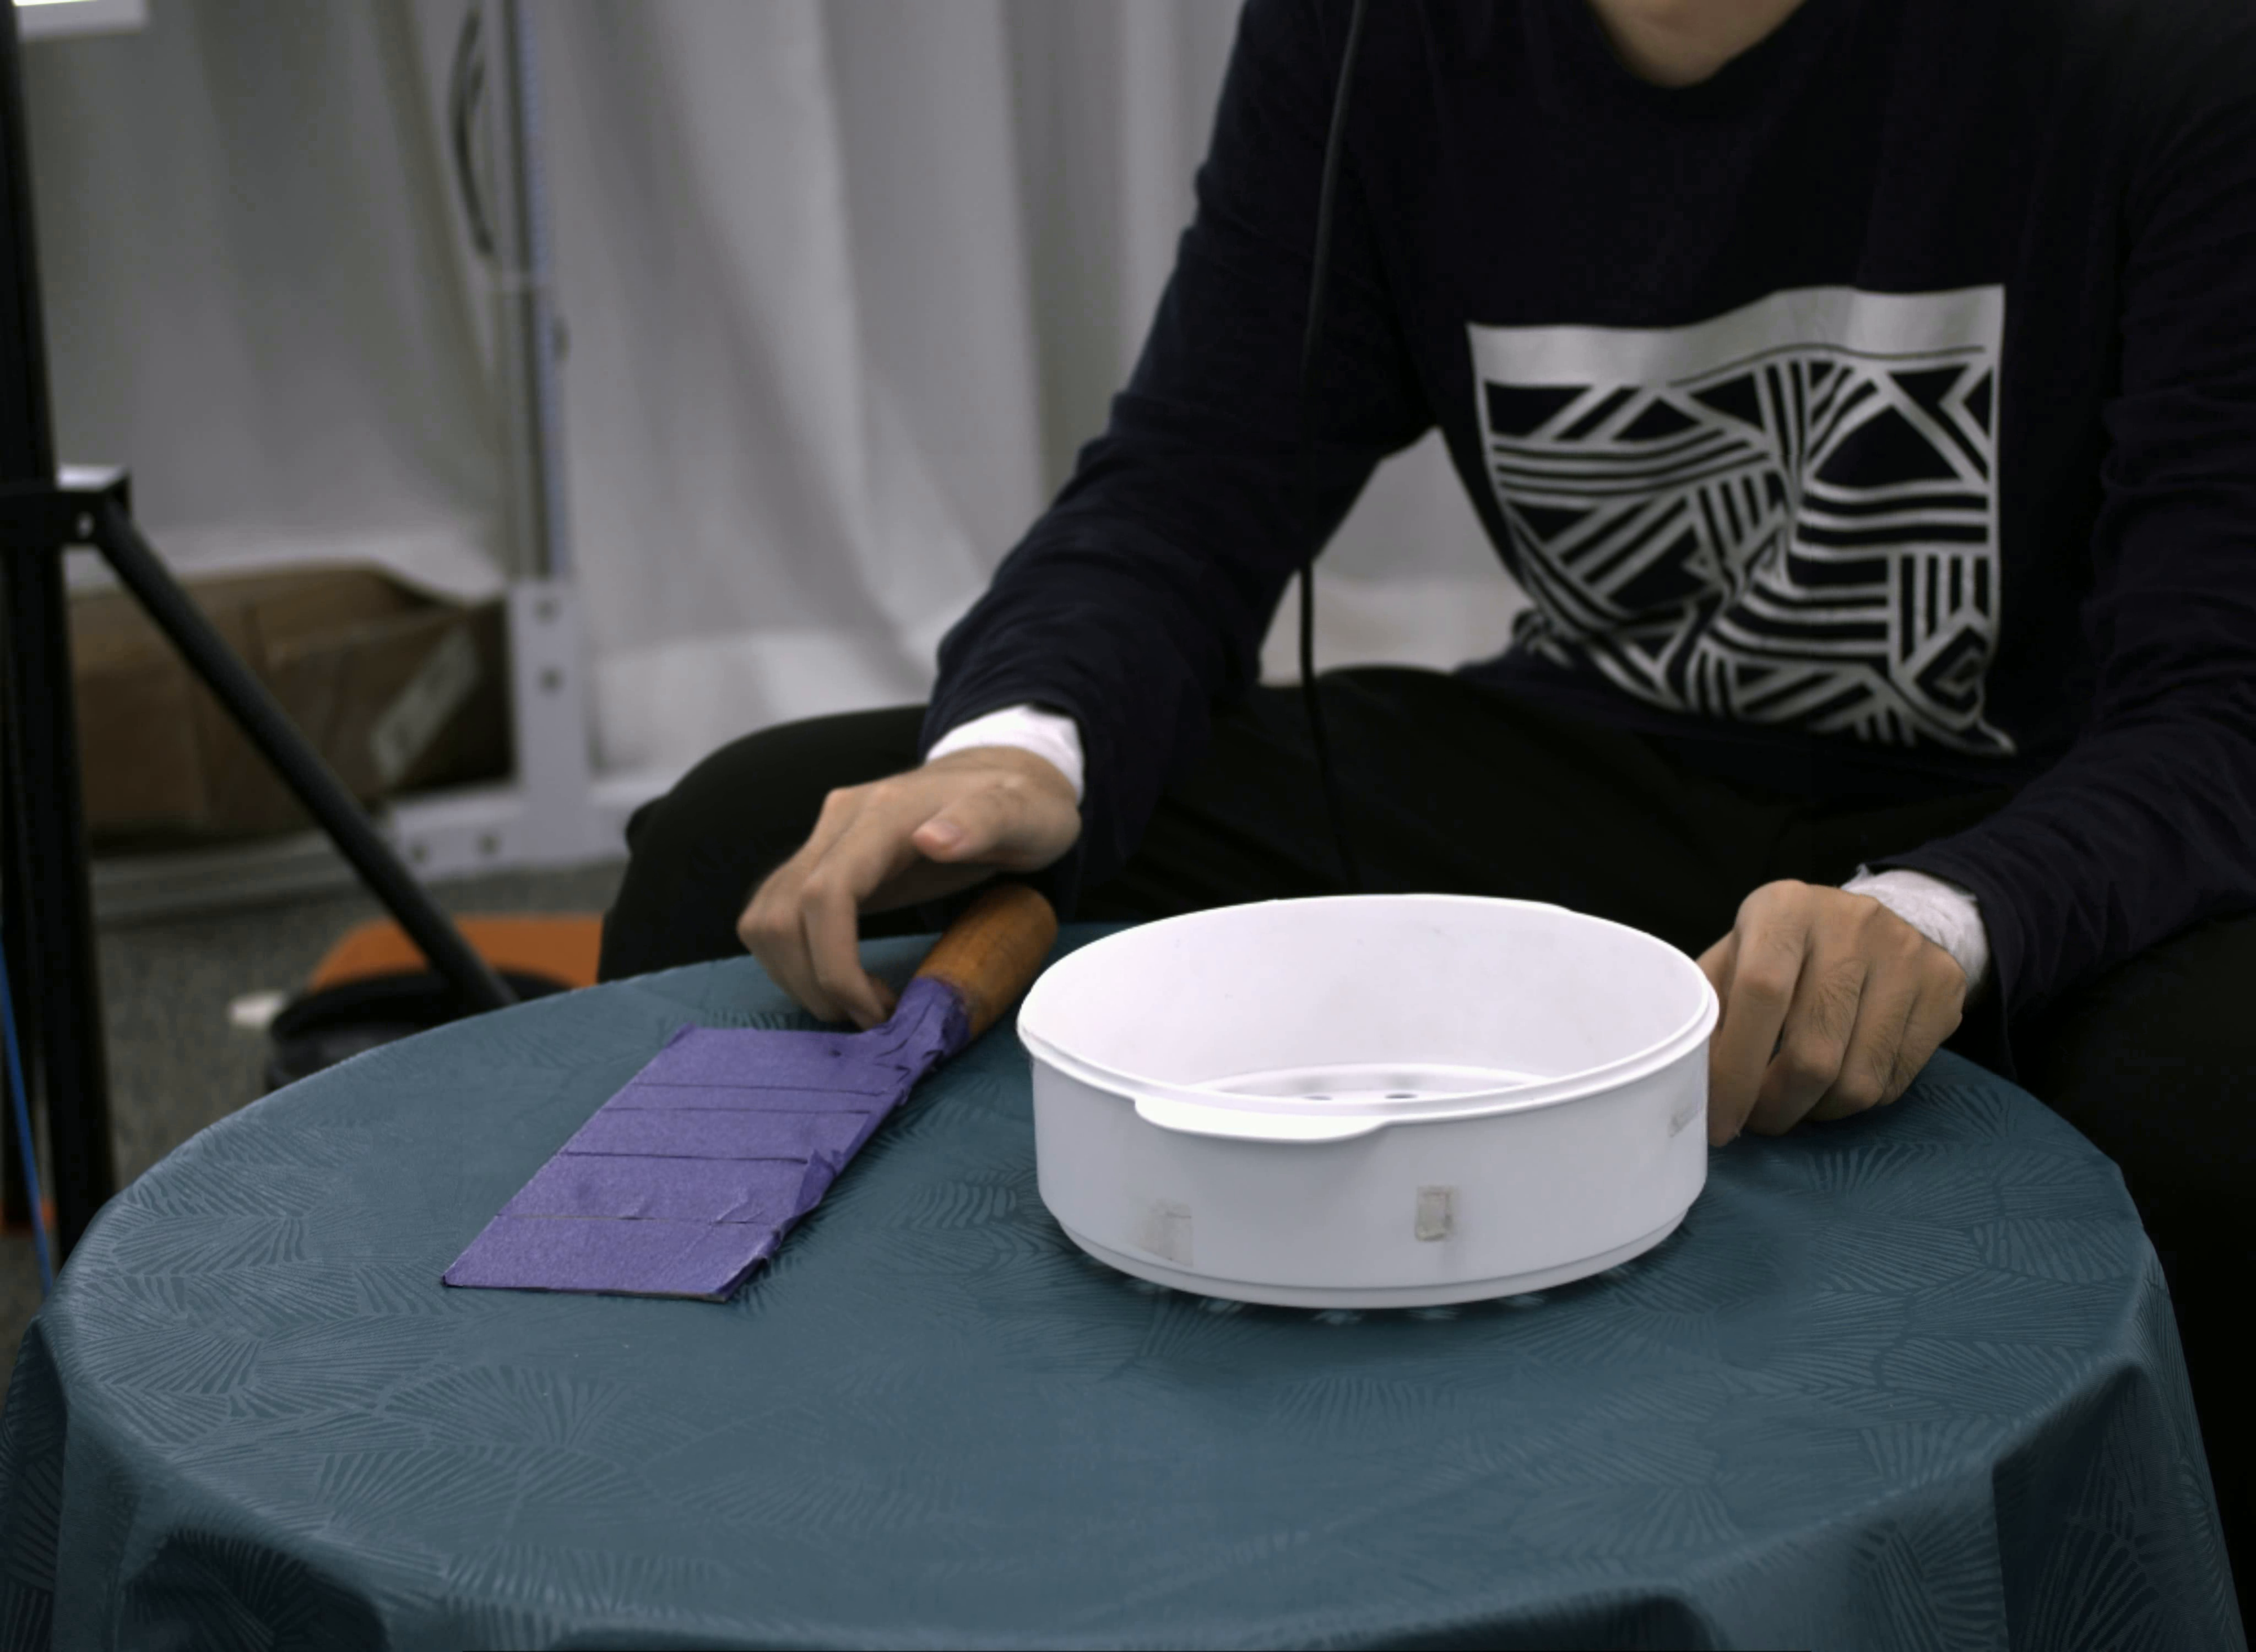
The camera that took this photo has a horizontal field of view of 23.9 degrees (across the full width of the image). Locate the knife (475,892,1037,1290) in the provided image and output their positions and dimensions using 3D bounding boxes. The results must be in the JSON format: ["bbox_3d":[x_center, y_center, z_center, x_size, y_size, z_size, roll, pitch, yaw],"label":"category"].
[{"bbox_3d":[-0.111,0.078,1.636,0.105,0.032,0.312,2,17,15],"label":"knife"}]

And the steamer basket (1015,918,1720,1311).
[{"bbox_3d":[0.068,0.083,1.523,0.204,0.069,0.227,5,14,21],"label":"steamer basket"}]
